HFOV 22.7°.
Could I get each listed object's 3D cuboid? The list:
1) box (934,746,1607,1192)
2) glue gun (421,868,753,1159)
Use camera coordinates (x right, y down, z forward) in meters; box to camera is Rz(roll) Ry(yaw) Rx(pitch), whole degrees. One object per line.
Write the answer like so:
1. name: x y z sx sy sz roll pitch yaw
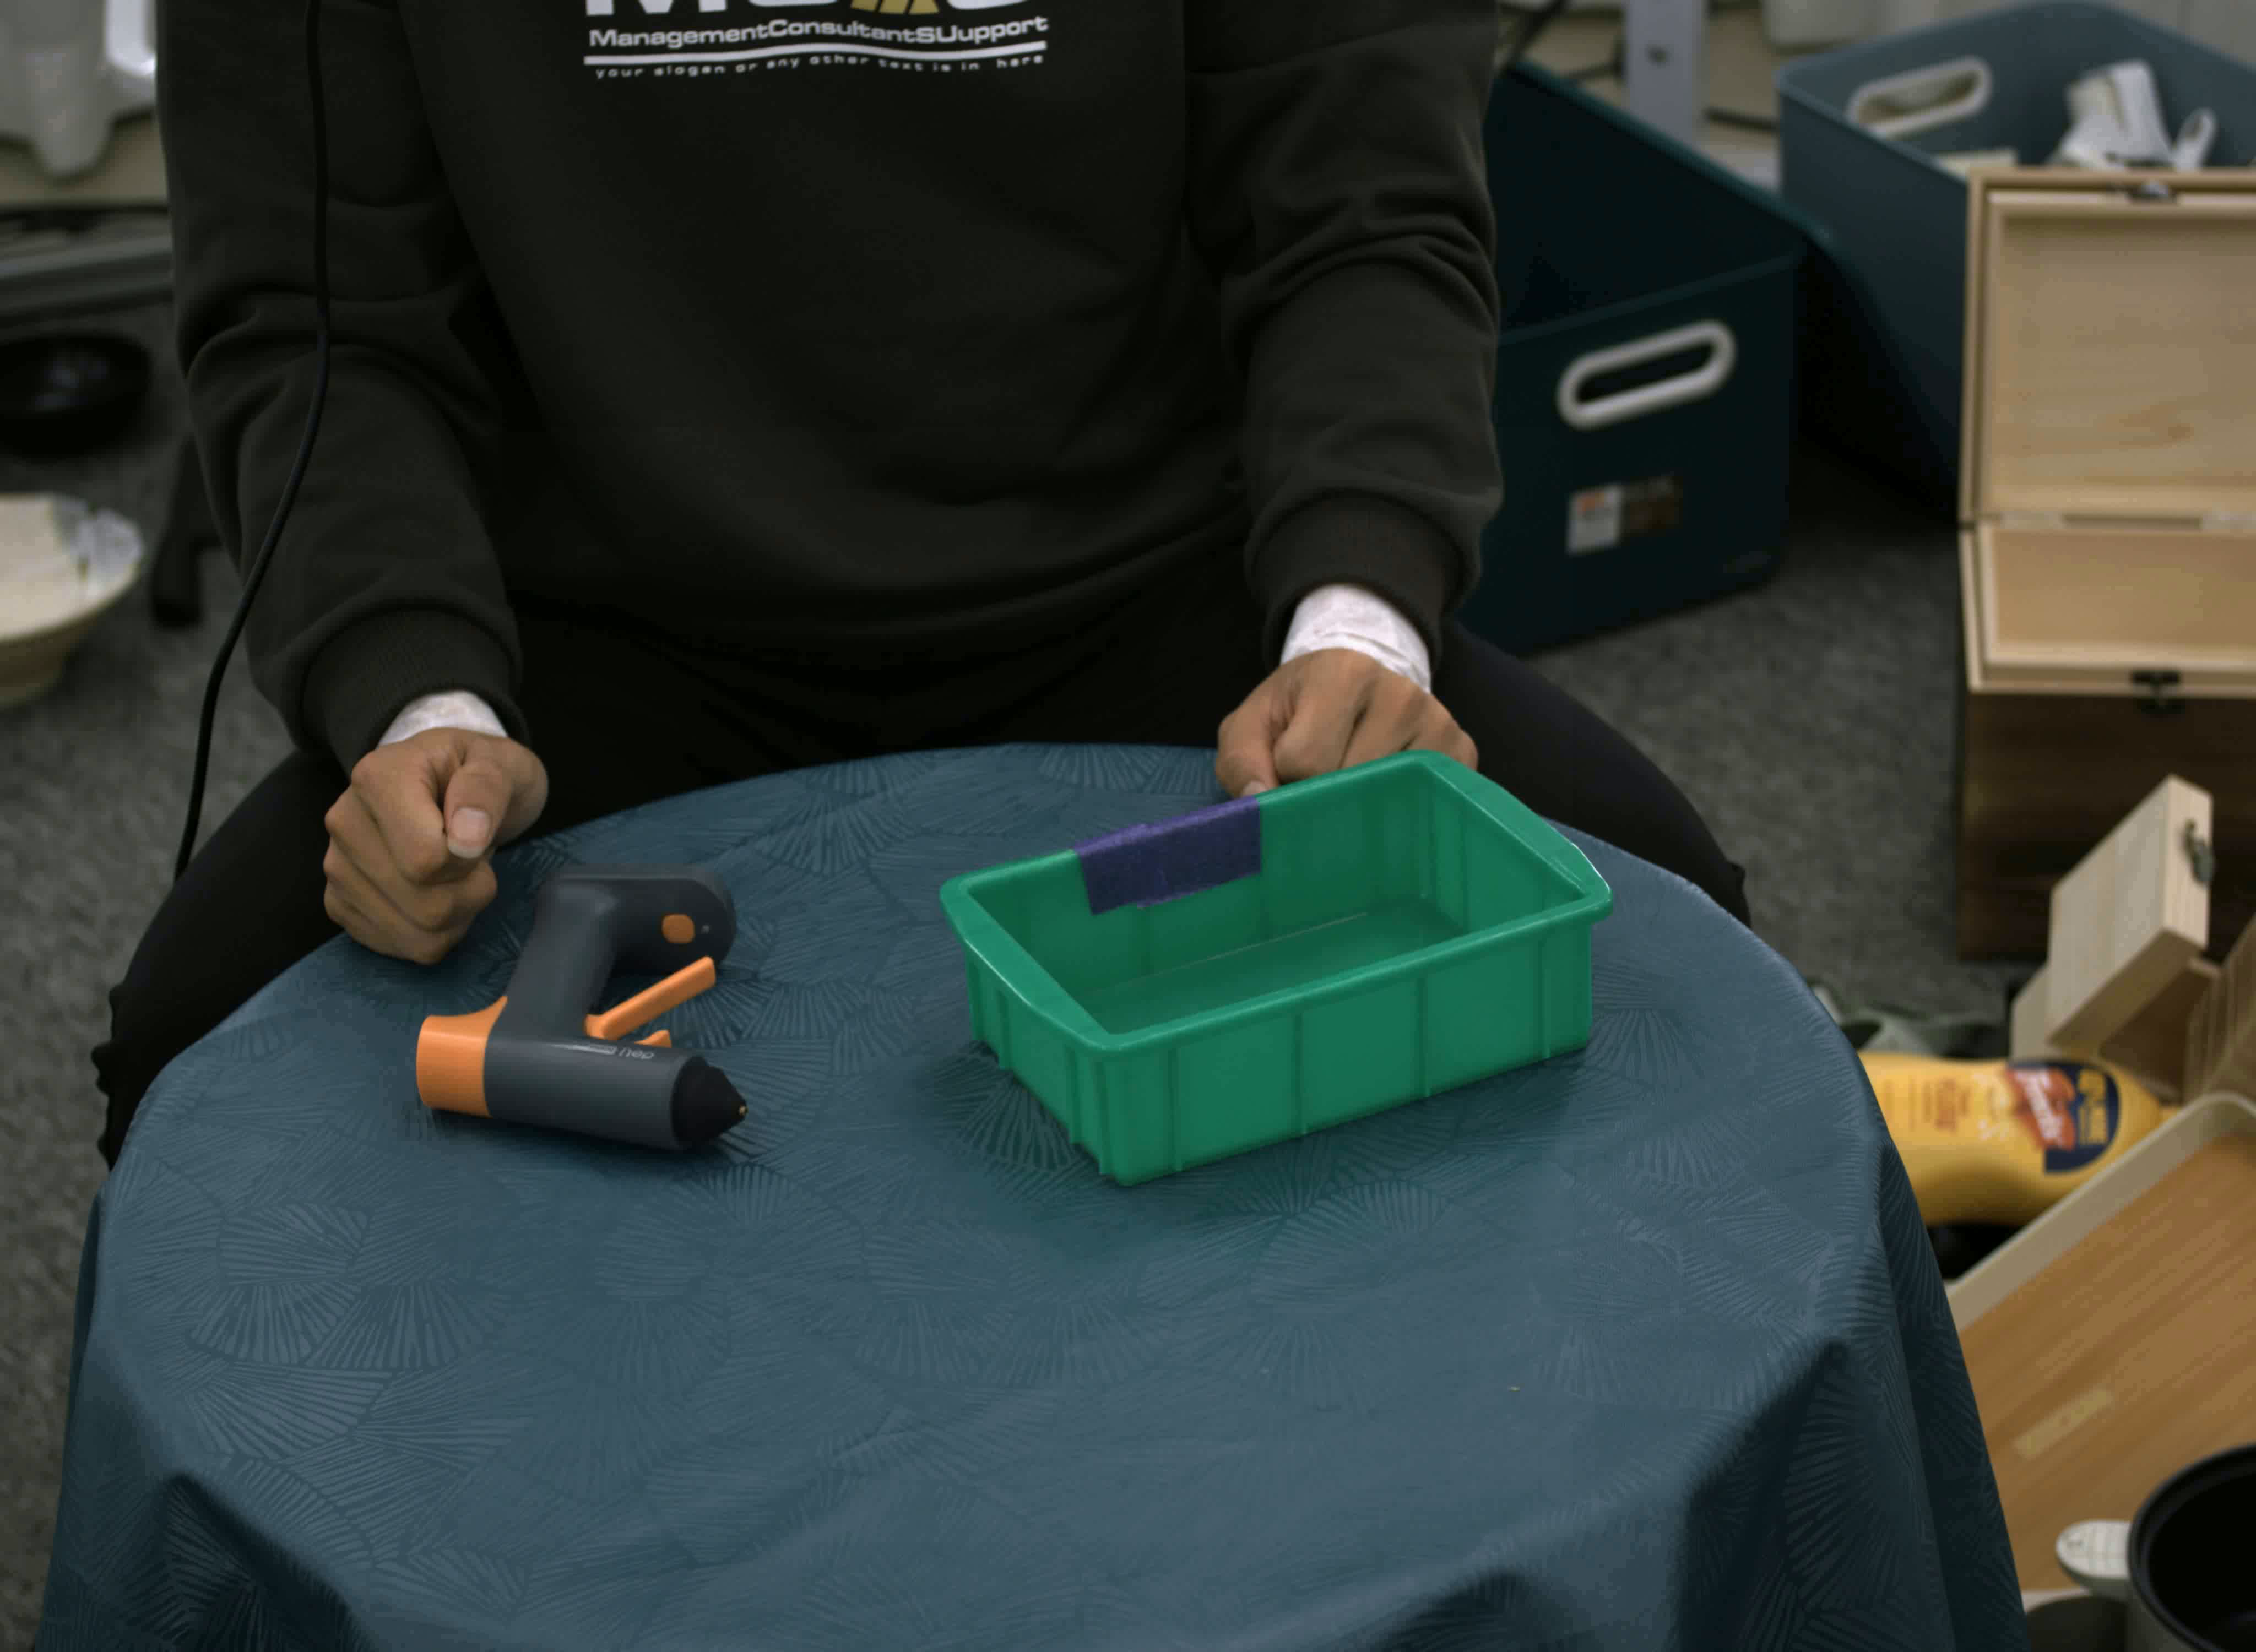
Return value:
1. box: 0.050 0.050 1.934 0.211 0.064 0.139 -17 30 -22
2. glue gun: -0.179 0.068 1.952 0.117 0.040 0.142 2 30 5
